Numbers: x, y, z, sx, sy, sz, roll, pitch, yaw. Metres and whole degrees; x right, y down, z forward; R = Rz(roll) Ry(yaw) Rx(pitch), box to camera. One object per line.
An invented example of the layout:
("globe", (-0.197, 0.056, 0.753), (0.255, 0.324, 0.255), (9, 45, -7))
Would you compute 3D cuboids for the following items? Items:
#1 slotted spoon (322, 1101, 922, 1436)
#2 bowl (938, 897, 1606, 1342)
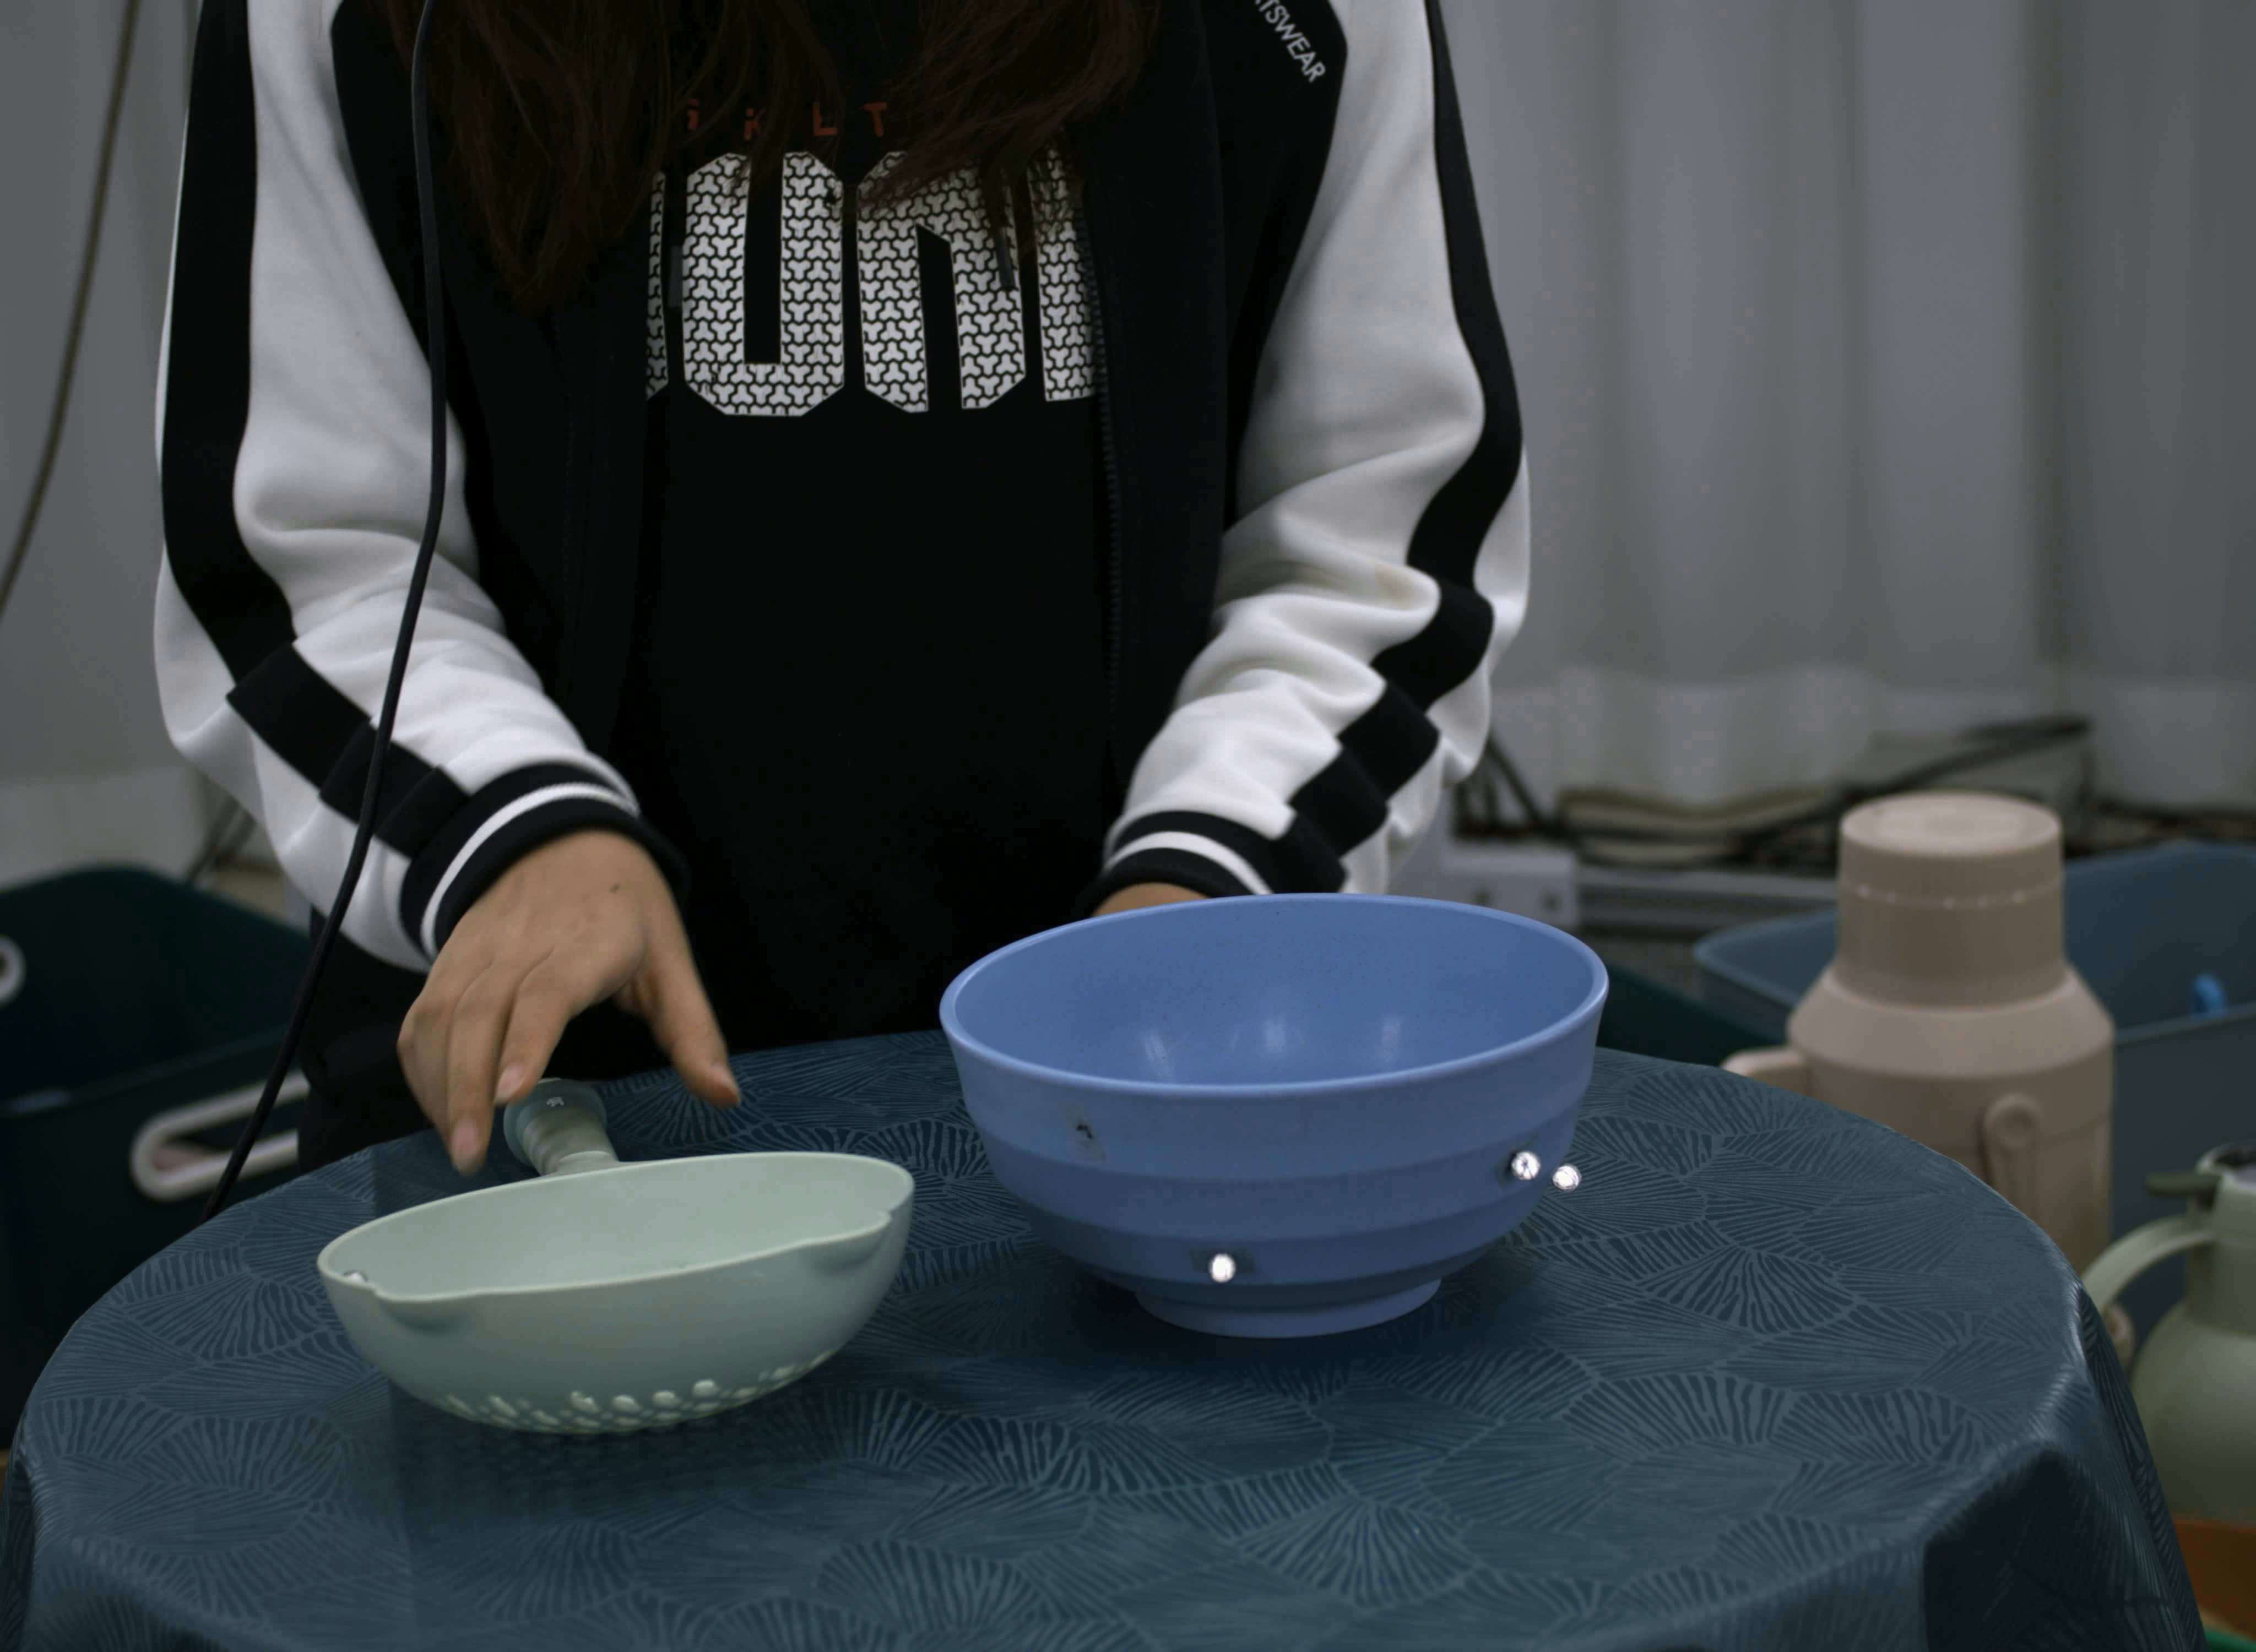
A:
("slotted spoon", (-0.158, 0.115, 1.631), (0.168, 0.075, 0.361), (-6, 13, -10))
("bowl", (0.044, 0.092, 1.610), (0.196, 0.095, 0.198), (-4, 14, 1))
